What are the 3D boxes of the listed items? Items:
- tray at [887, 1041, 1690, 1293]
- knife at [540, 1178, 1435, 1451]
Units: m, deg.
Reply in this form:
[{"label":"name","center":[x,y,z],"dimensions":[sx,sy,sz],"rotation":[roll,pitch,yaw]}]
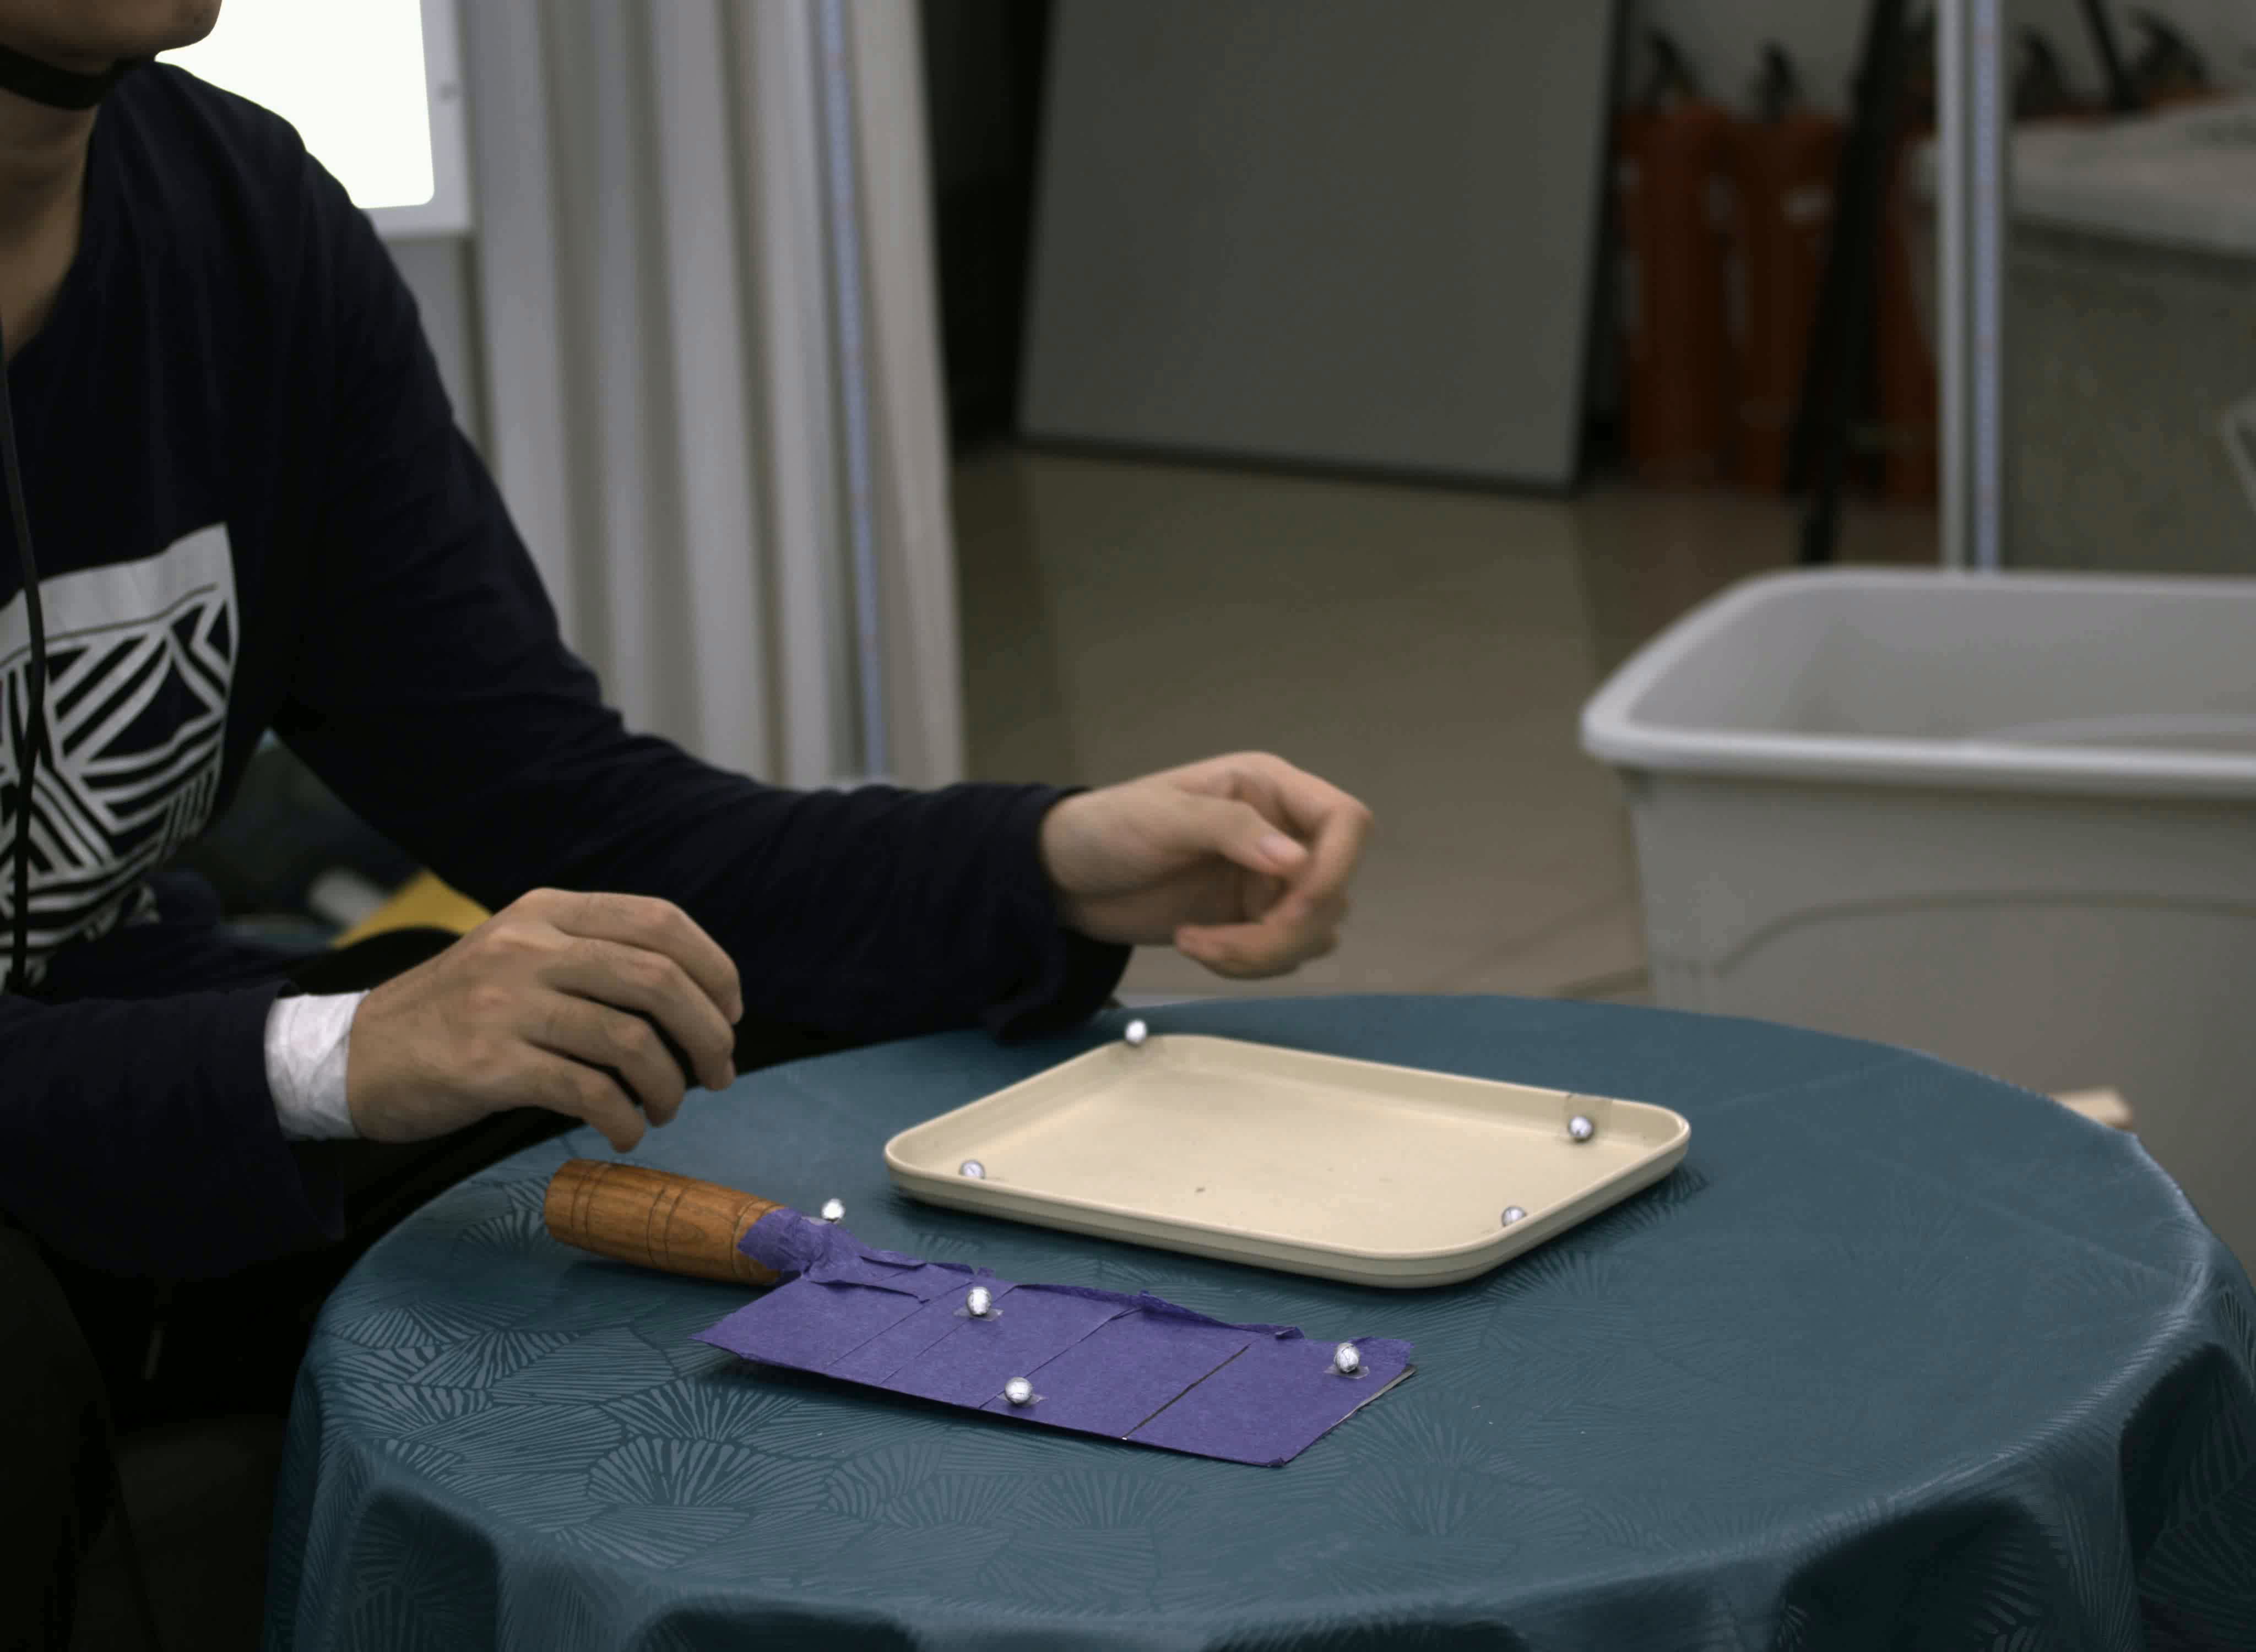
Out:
[{"label":"tray","center":[0.052,0.111,1.766],"dimensions":[0.241,0.017,0.168],"rotation":[7,18,38]},{"label":"knife","center":[-0.064,0.147,1.632],"dimensions":[0.317,0.032,0.102],"rotation":[5,16,32]}]
